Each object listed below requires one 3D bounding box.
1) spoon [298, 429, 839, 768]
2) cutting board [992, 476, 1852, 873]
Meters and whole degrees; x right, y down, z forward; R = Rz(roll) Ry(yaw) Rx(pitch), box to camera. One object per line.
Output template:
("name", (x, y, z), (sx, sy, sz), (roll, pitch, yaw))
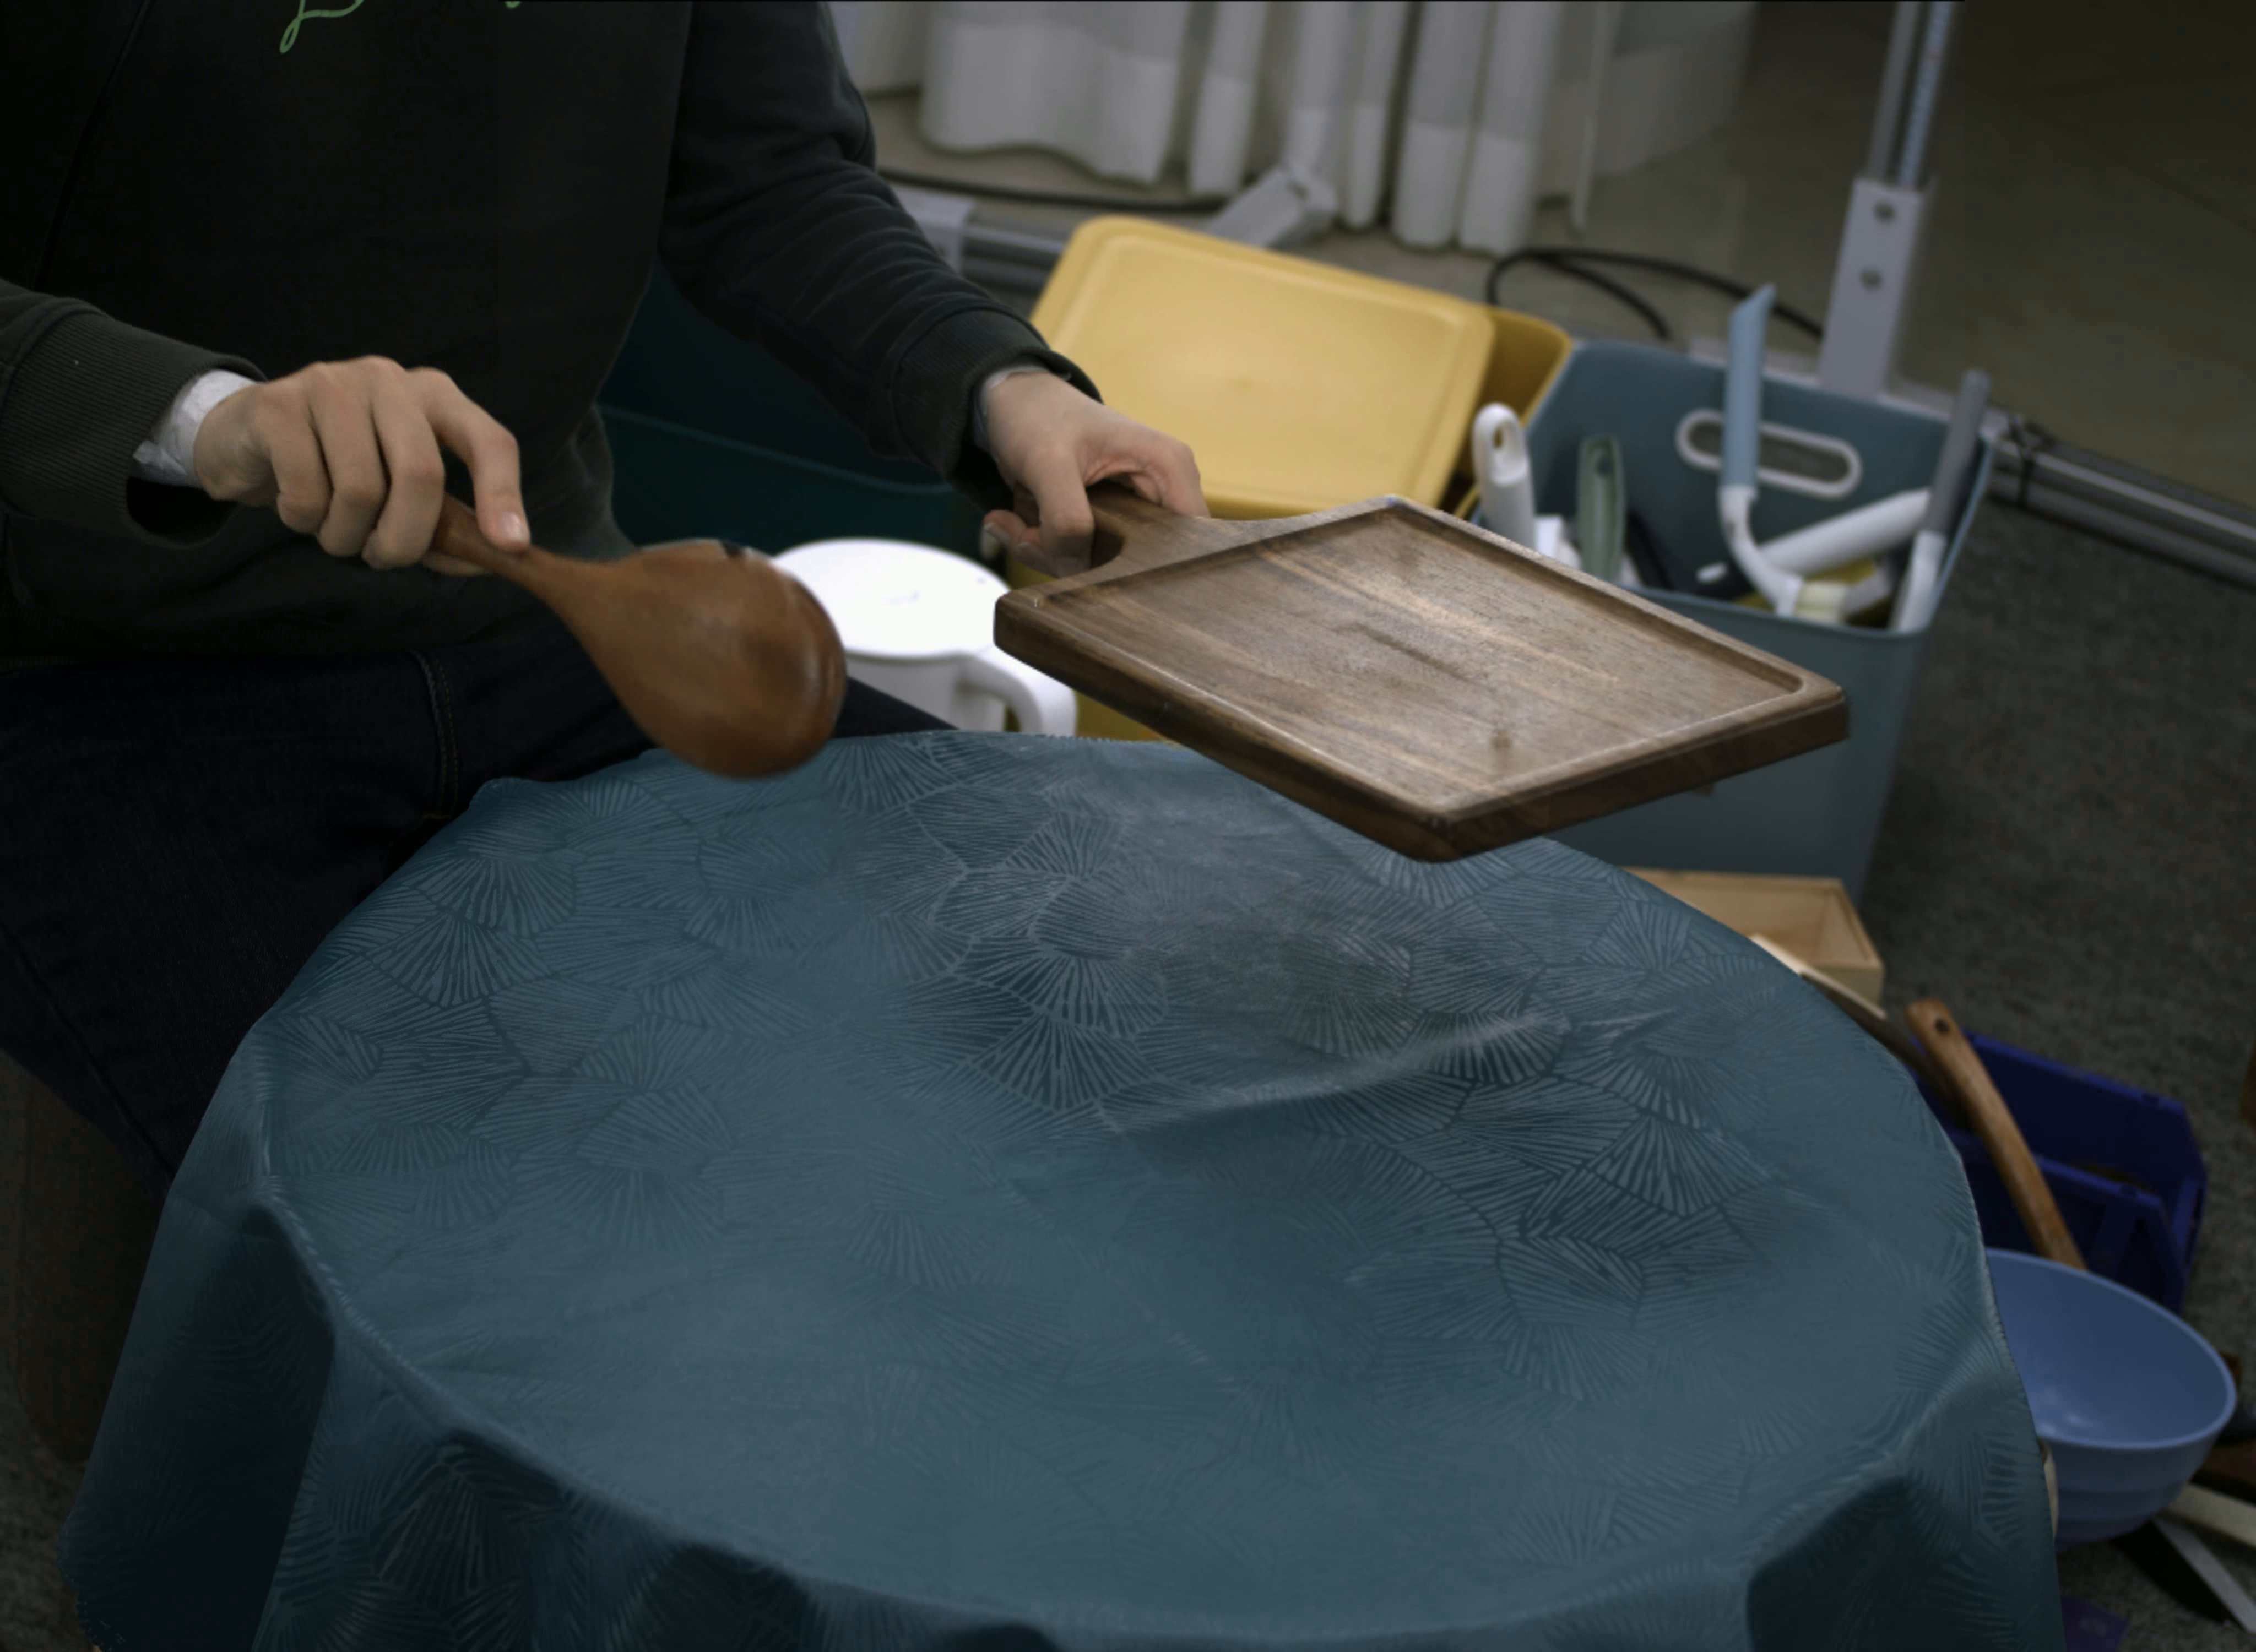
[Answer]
("spoon", (-0.183, -0.080, 1.713), (0.217, 0.075, 0.017), (25, 24, 26))
("cutting board", (0.071, -0.070, 1.920), (0.200, 0.023, 0.355), (-17, 28, -33))
